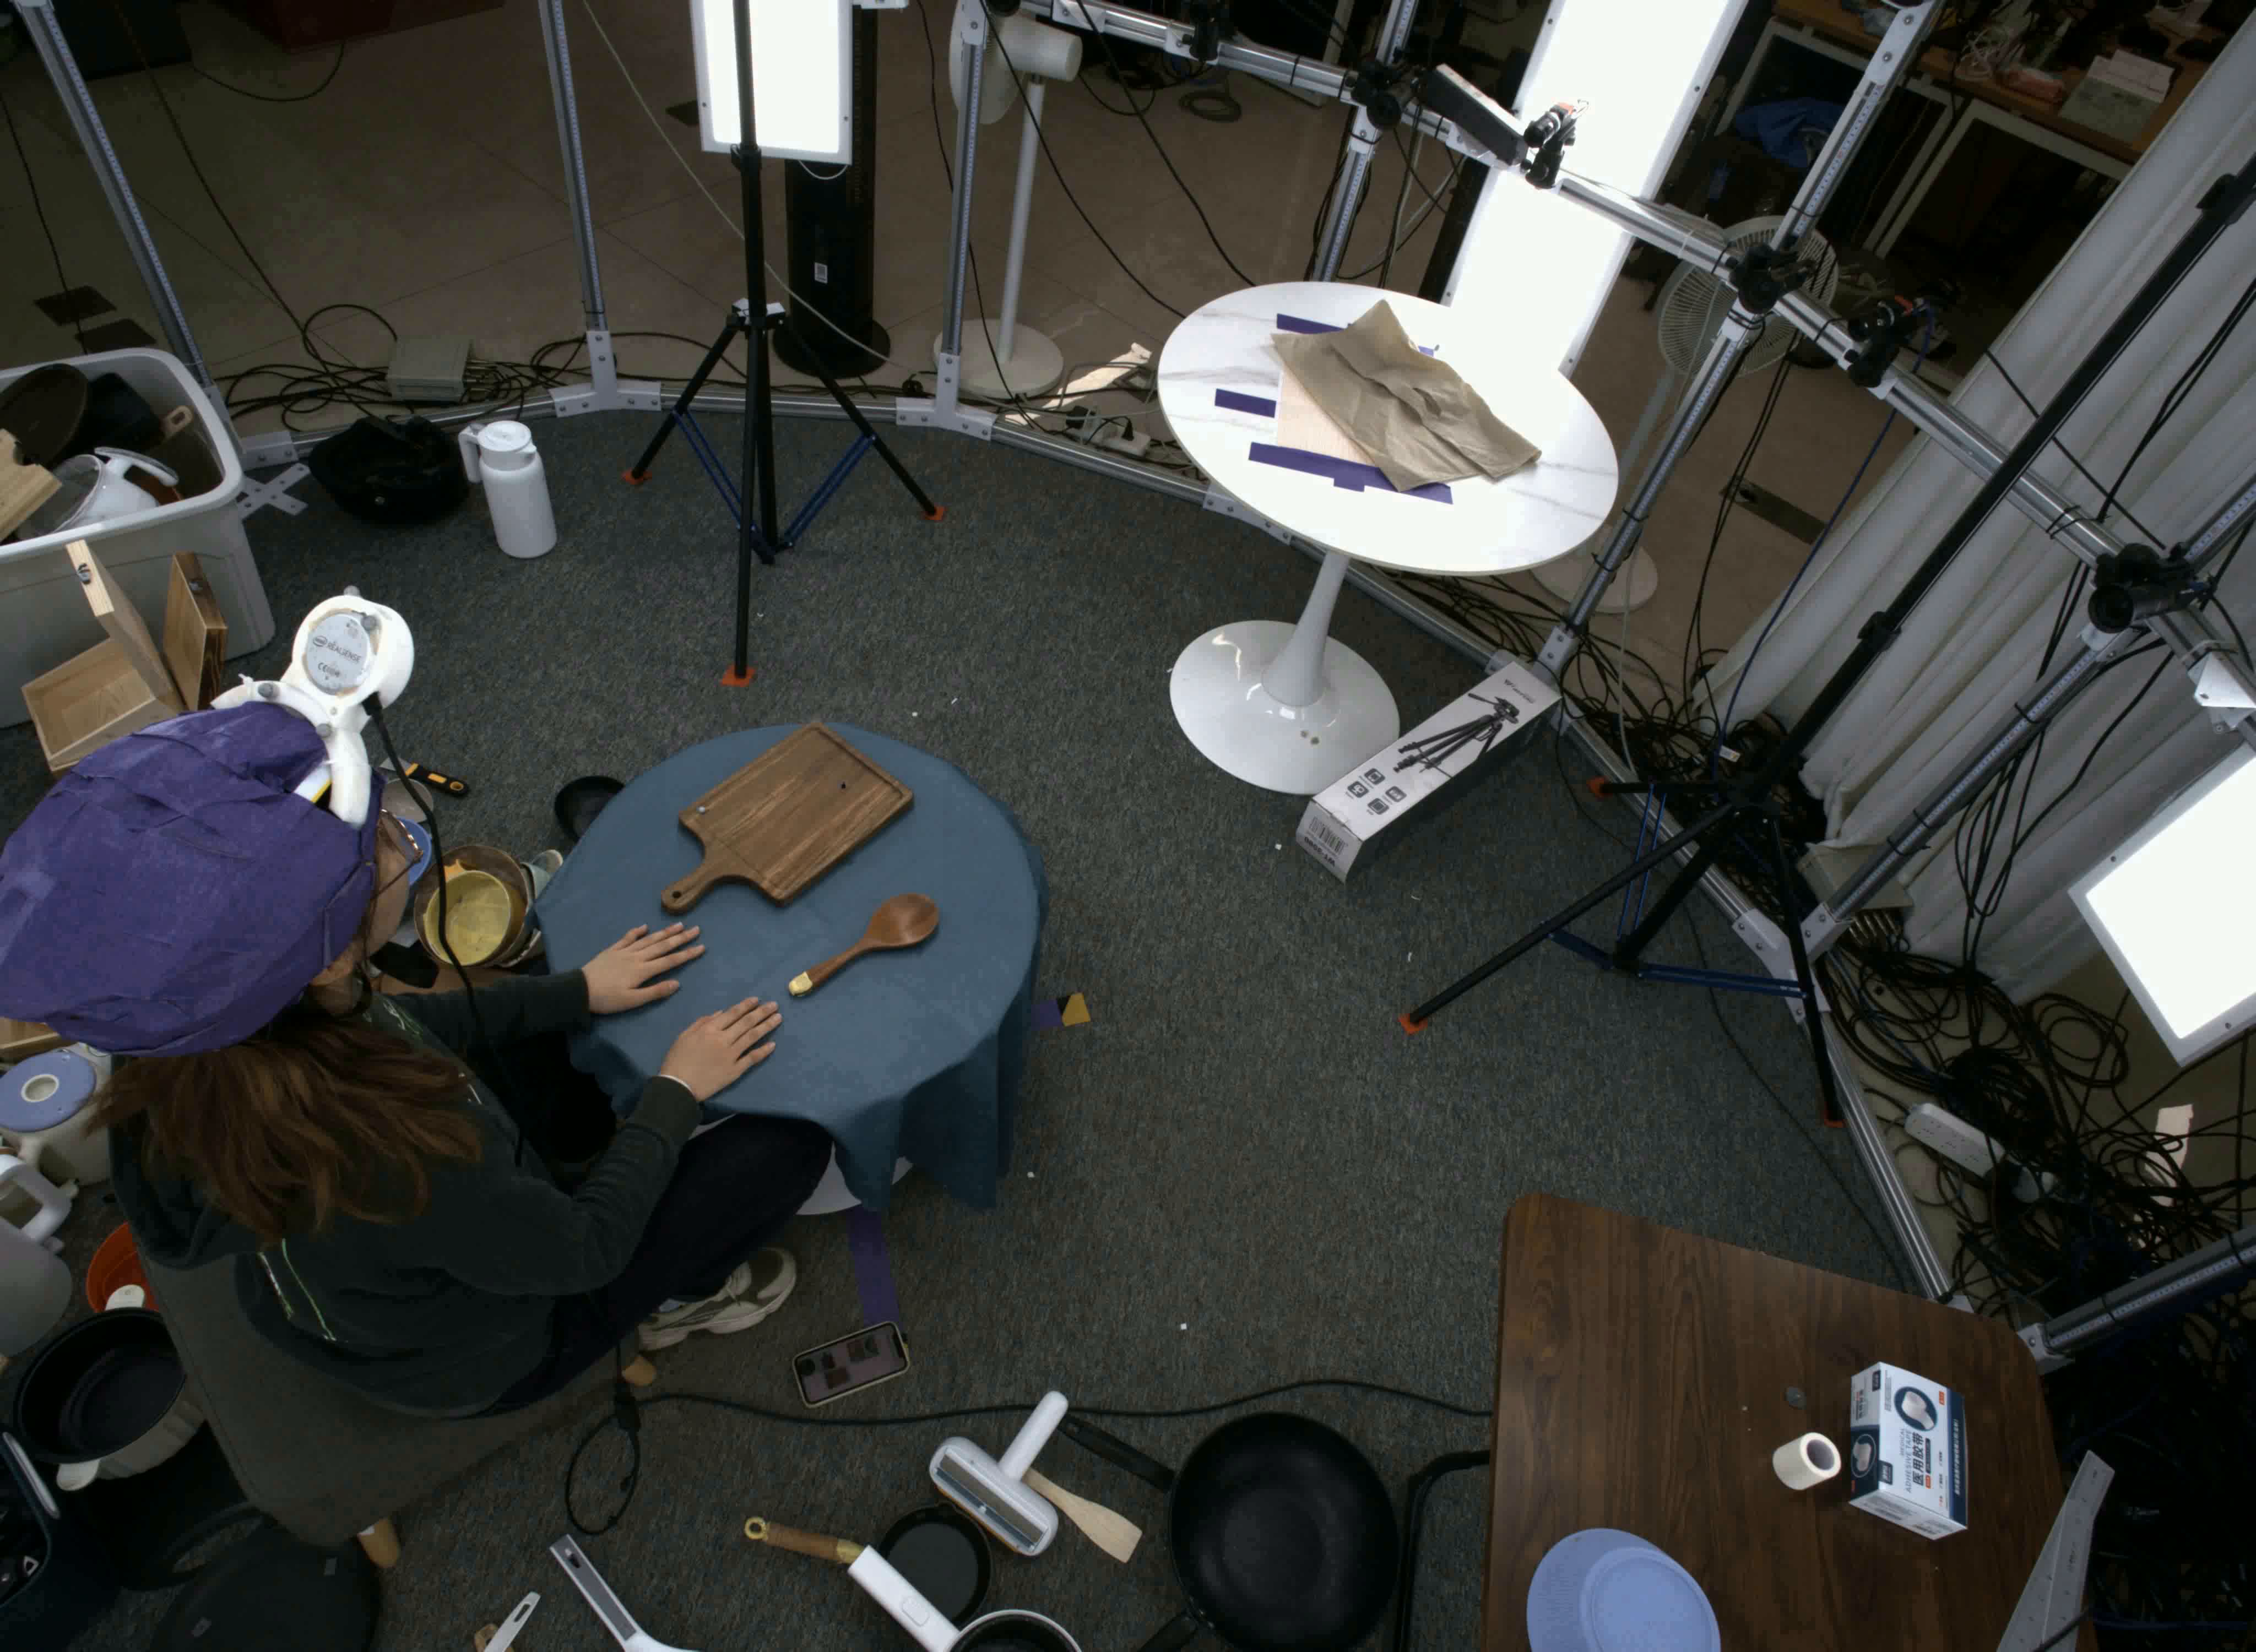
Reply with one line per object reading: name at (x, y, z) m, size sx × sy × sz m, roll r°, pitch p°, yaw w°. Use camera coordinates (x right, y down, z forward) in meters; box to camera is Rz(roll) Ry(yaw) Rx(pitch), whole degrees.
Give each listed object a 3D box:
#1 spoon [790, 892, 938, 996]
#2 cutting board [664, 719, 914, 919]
spoon at (-0.331, 0.149, 1.631) m, size 0.216 × 0.017 × 0.074 m, roll -32°, pitch 69°, yaw -32°
cutting board at (-0.470, 0.004, 1.703) m, size 0.197 × 0.023 × 0.352 m, roll 37°, pitch 54°, yaw 13°
